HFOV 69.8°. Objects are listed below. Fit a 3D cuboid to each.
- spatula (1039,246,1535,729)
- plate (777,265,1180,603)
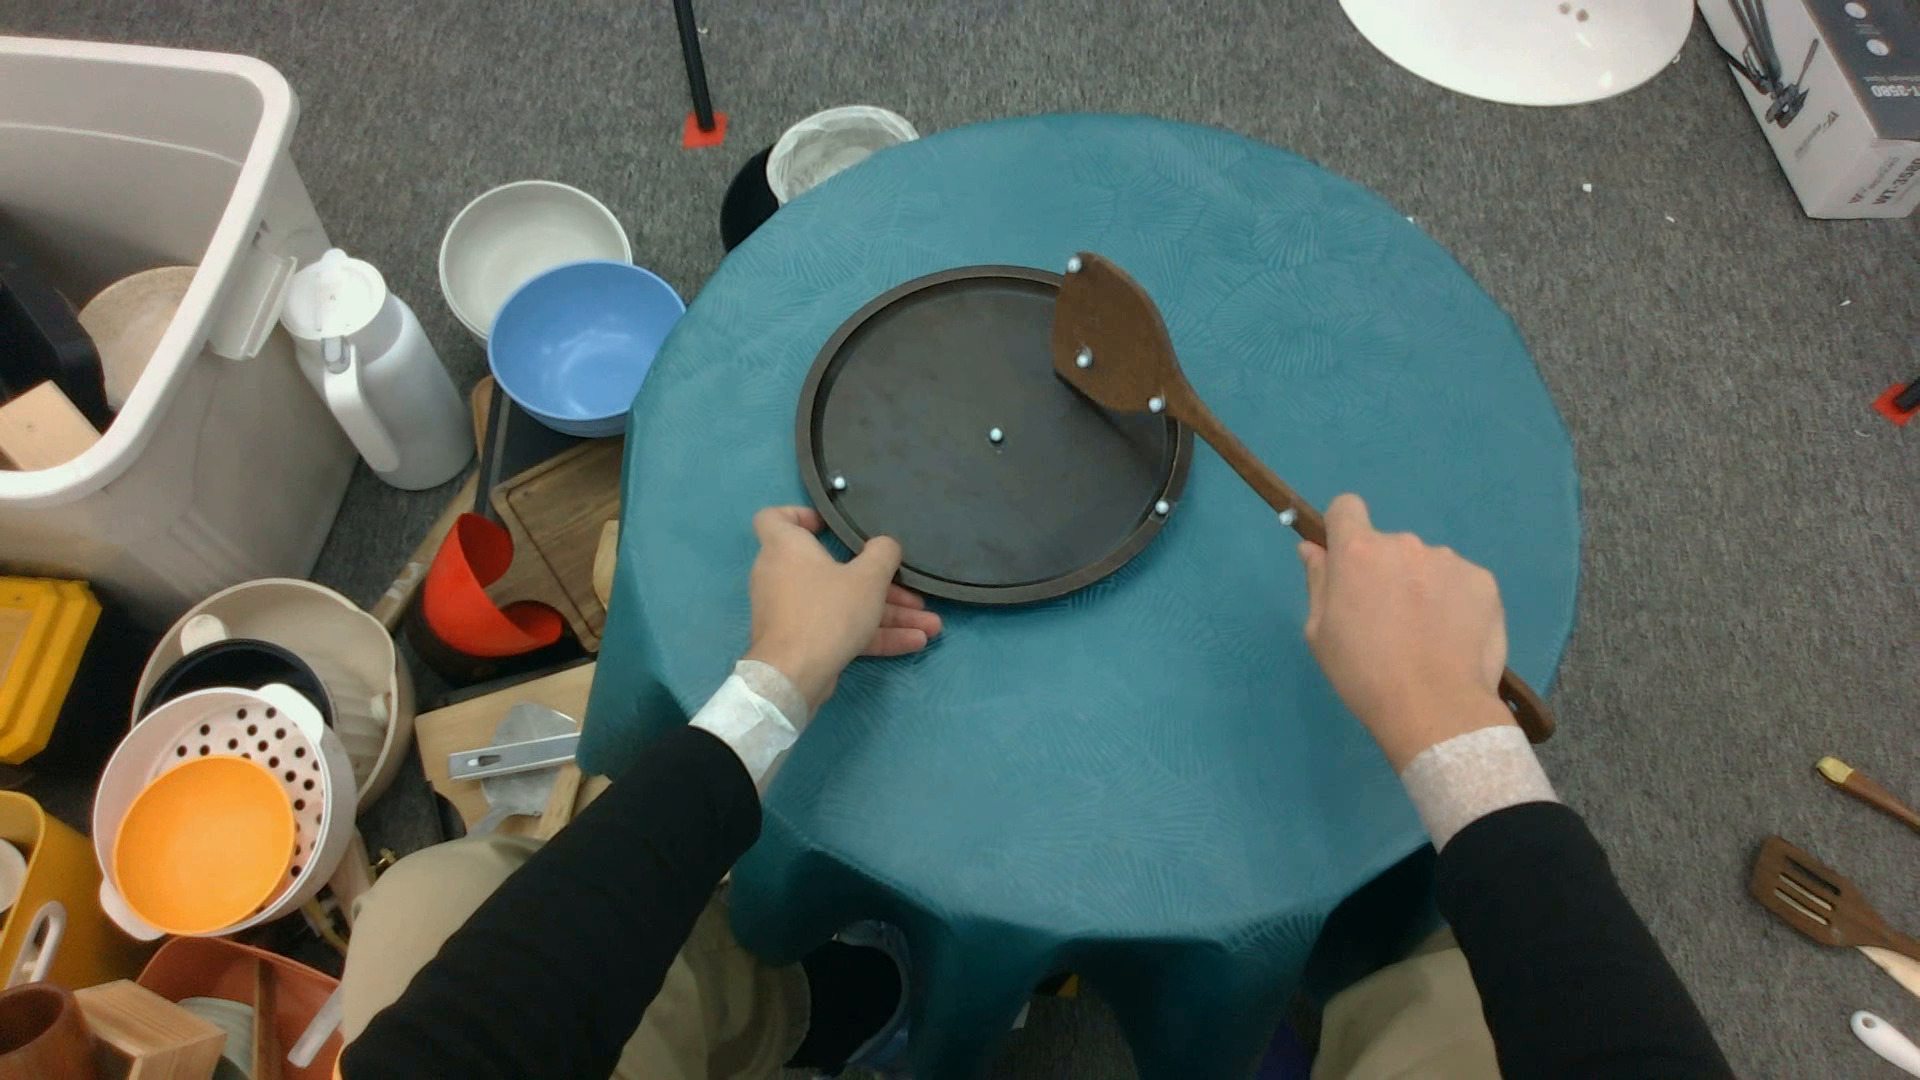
[{"bbox_3d":[0.165,-0.033,0.768,0.016,0.095,0.386,-23,55,-29],"label":"spatula"},{"bbox_3d":[0.011,-0.072,0.872,0.255,0.029,0.256,1,61,-2],"label":"plate"}]
